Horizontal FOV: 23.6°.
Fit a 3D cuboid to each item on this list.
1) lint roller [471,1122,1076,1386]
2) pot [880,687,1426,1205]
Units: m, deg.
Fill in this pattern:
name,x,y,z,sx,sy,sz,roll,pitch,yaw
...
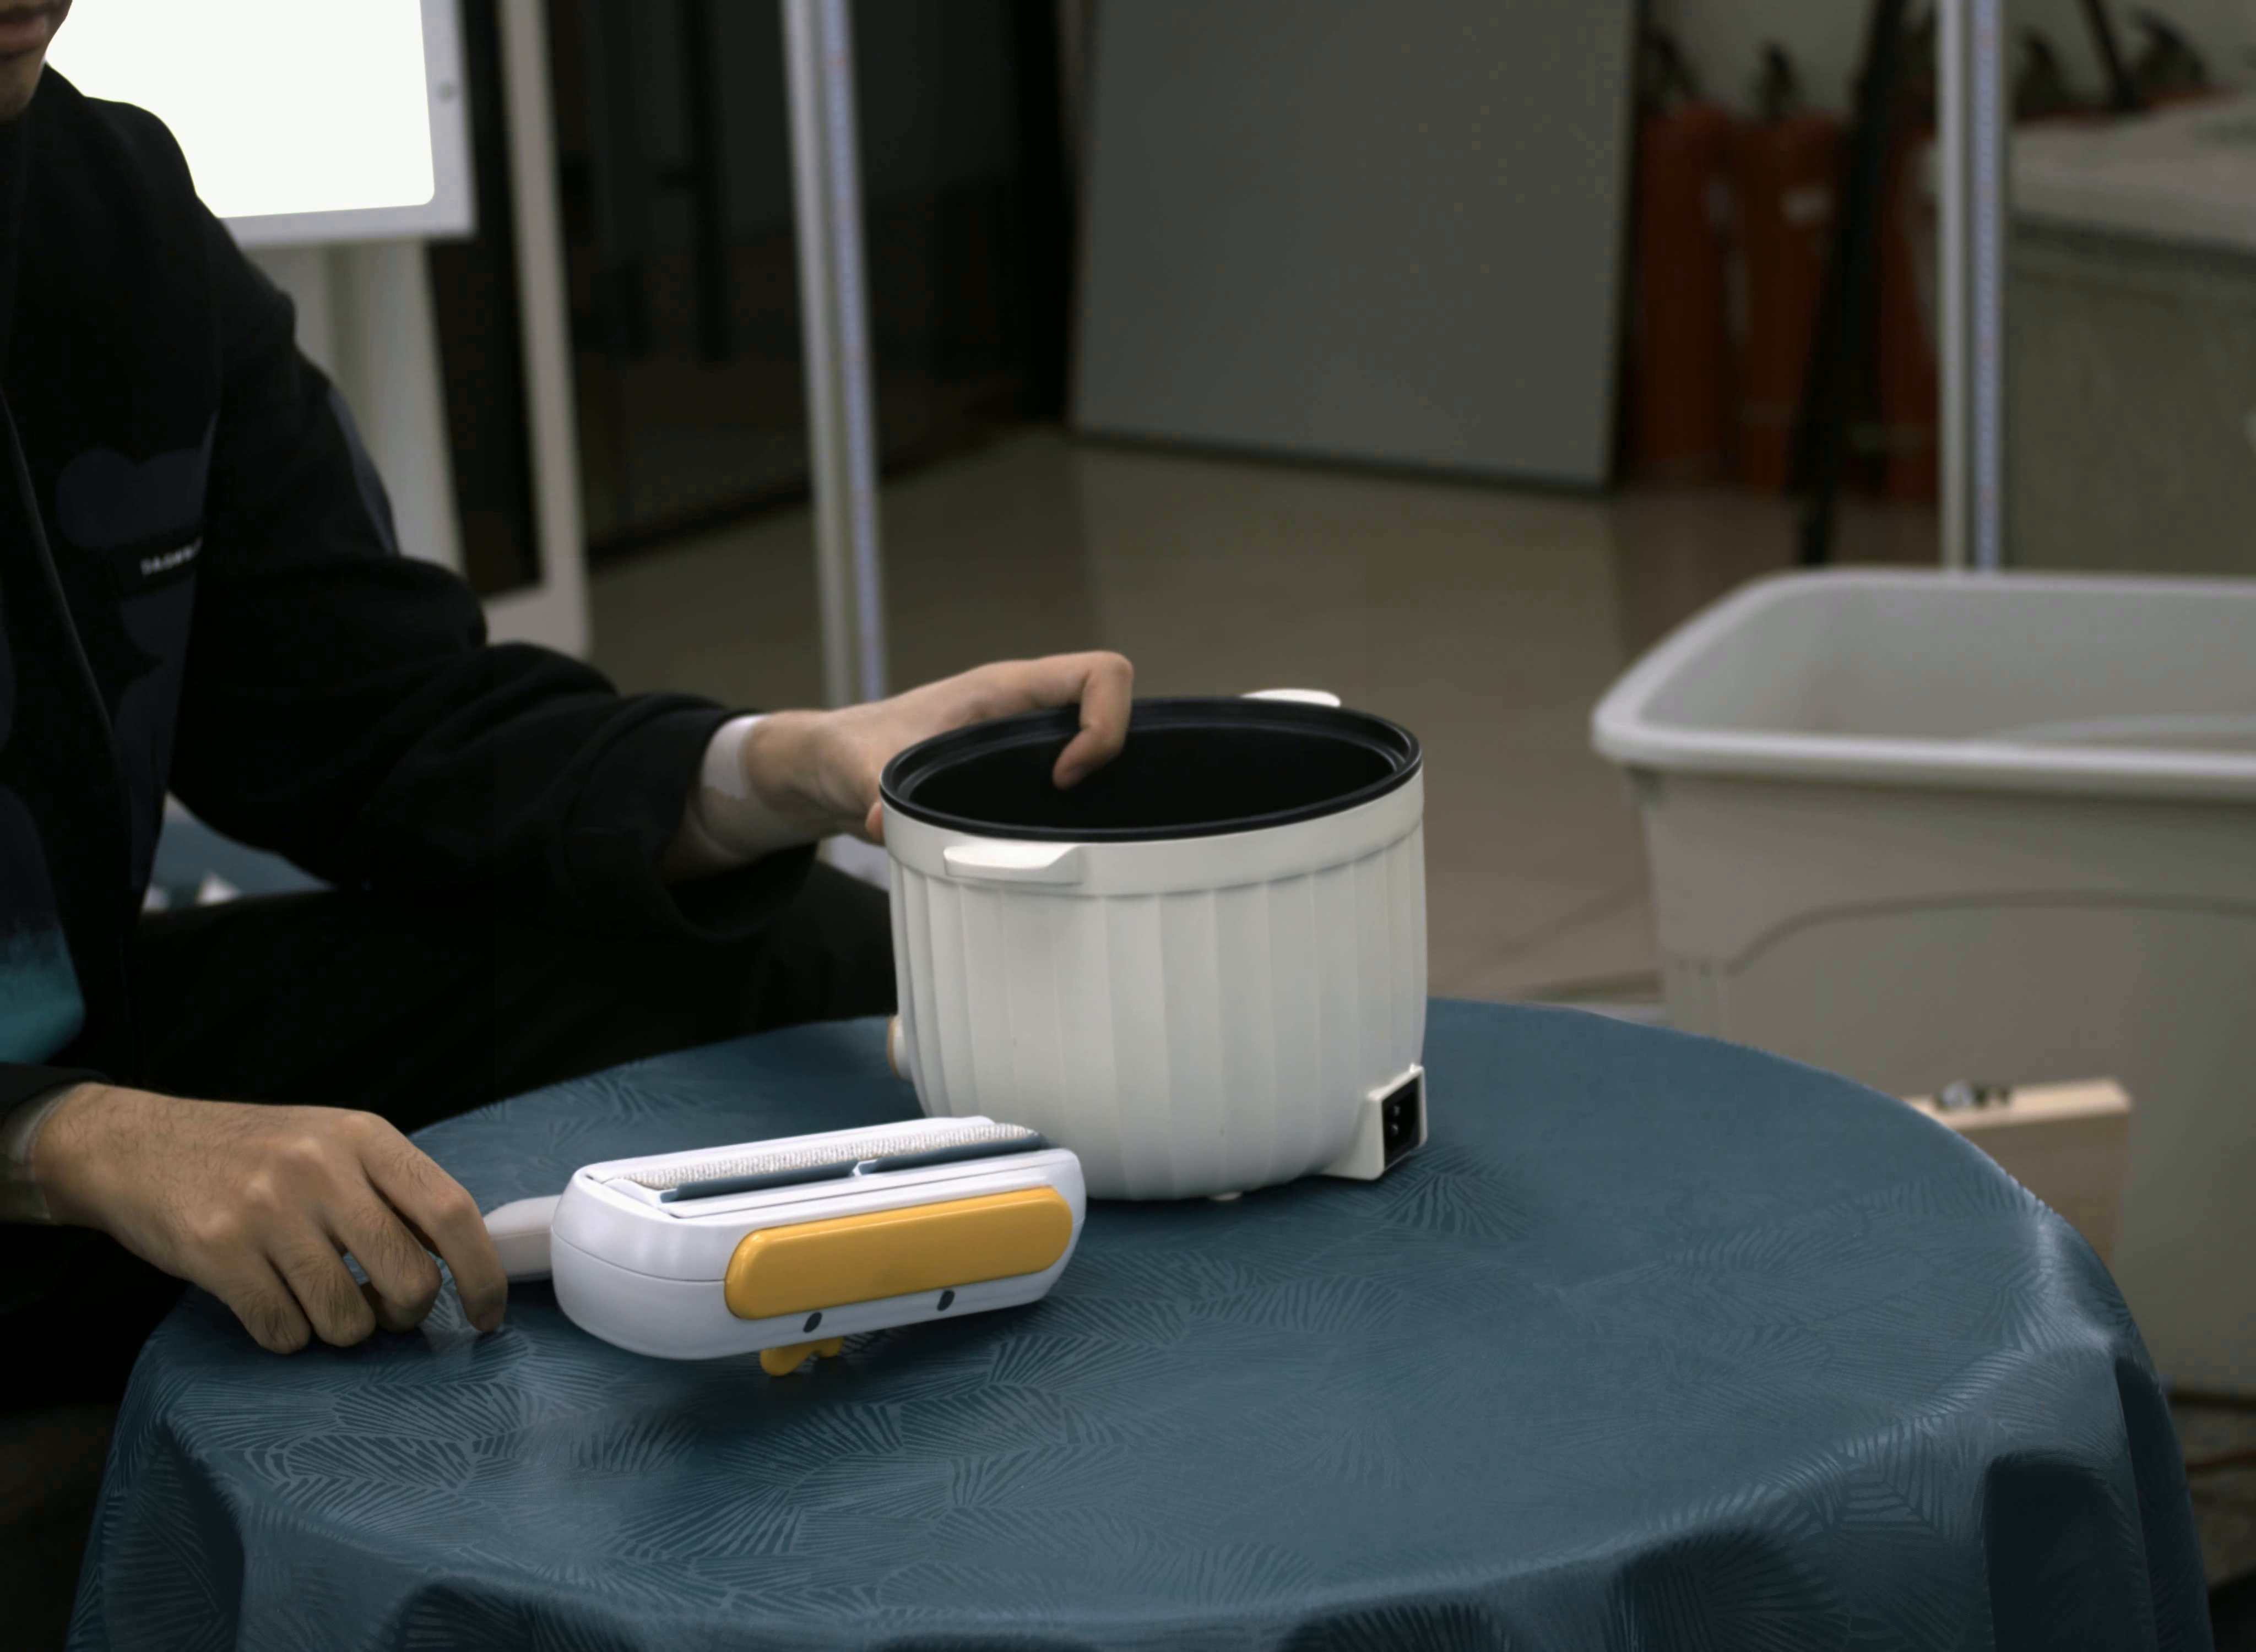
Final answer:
name,x,y,z,sx,sy,sz,roll,pitch,yaw
lint roller,-0.136,0.124,1.658,0.188,0.075,0.194,-10,12,-42
pot,0.005,0.042,1.797,0.191,0.144,0.237,6,16,27
